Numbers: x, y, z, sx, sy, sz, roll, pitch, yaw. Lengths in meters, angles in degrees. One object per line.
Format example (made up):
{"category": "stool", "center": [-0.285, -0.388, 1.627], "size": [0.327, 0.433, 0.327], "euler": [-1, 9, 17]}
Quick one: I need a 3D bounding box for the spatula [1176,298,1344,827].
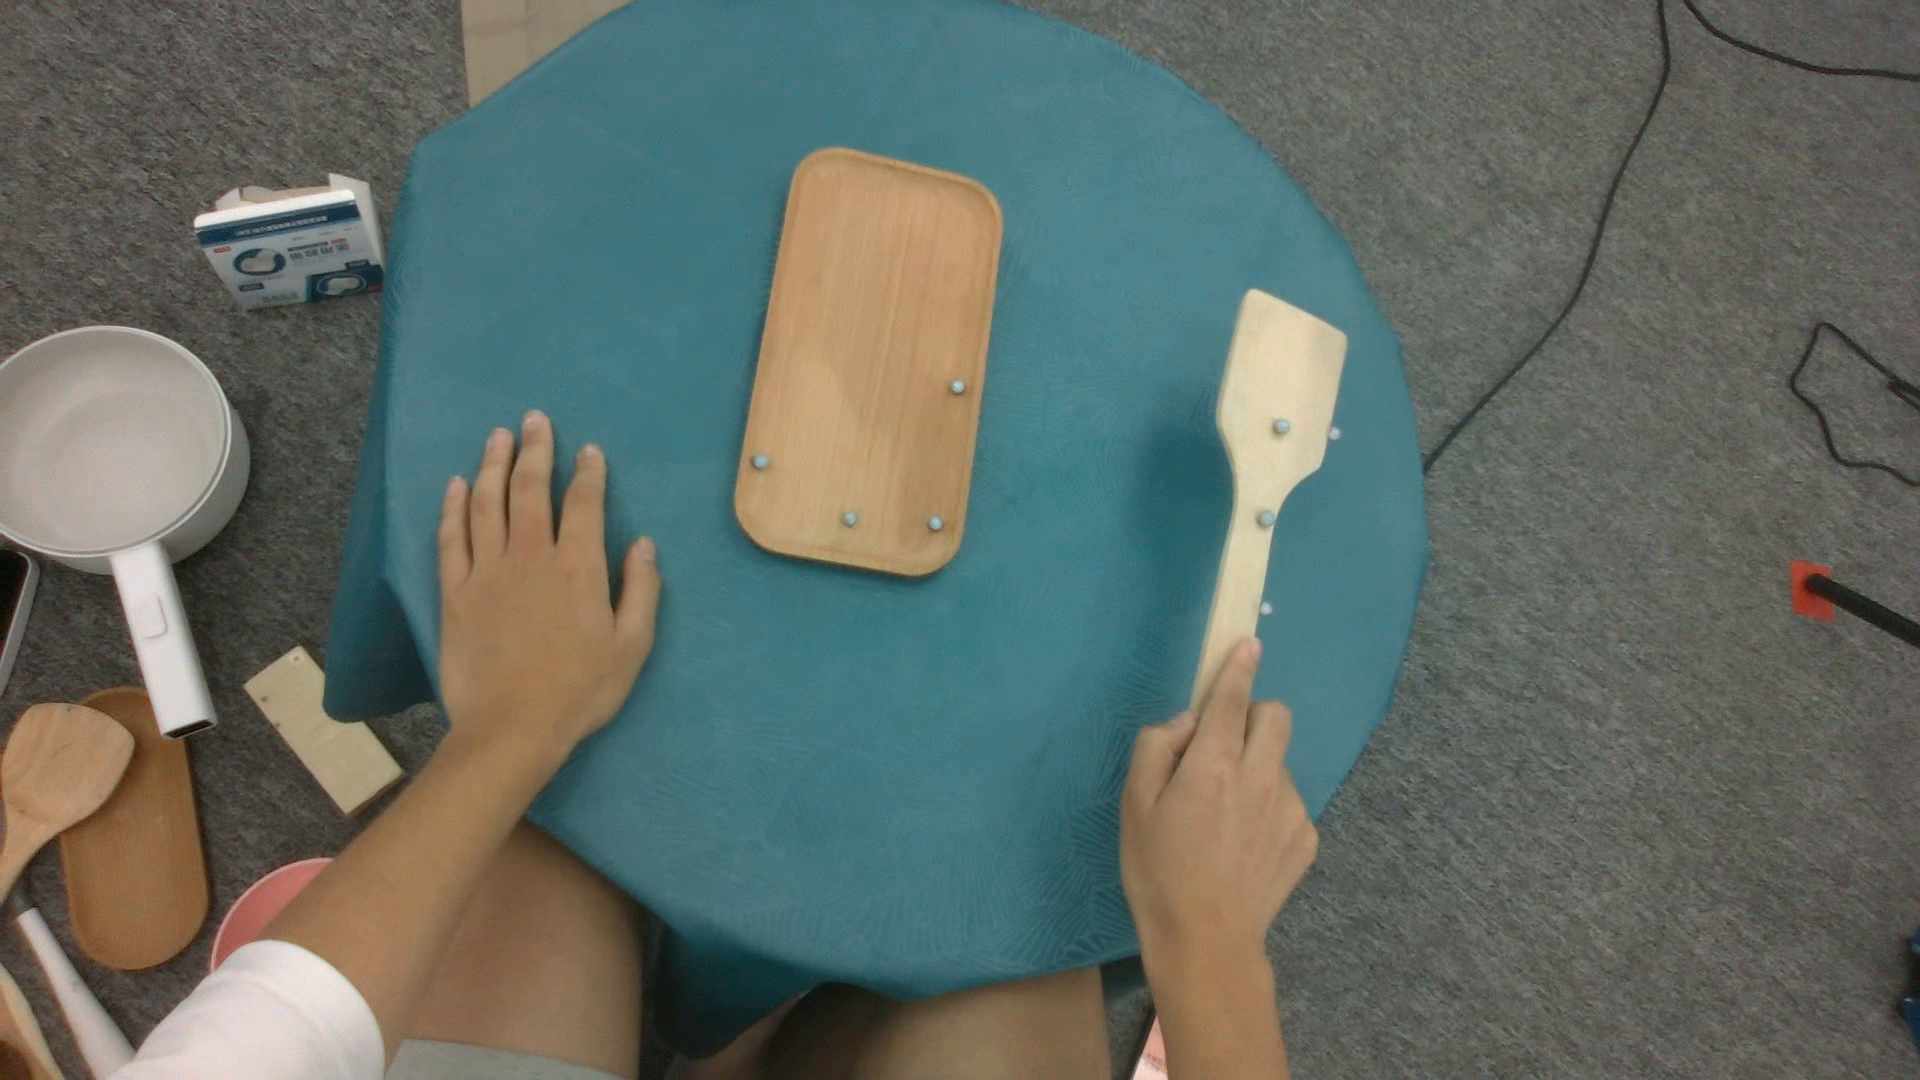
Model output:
{"category": "spatula", "center": [0.155, 0.009, 0.737], "size": [0.072, 0.010, 0.294], "euler": [21, 70, -17]}

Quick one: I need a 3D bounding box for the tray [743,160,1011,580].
{"category": "tray", "center": [-0.045, -0.102, 0.800], "size": [0.130, 0.023, 0.251], "euler": [12, 71, -10]}
